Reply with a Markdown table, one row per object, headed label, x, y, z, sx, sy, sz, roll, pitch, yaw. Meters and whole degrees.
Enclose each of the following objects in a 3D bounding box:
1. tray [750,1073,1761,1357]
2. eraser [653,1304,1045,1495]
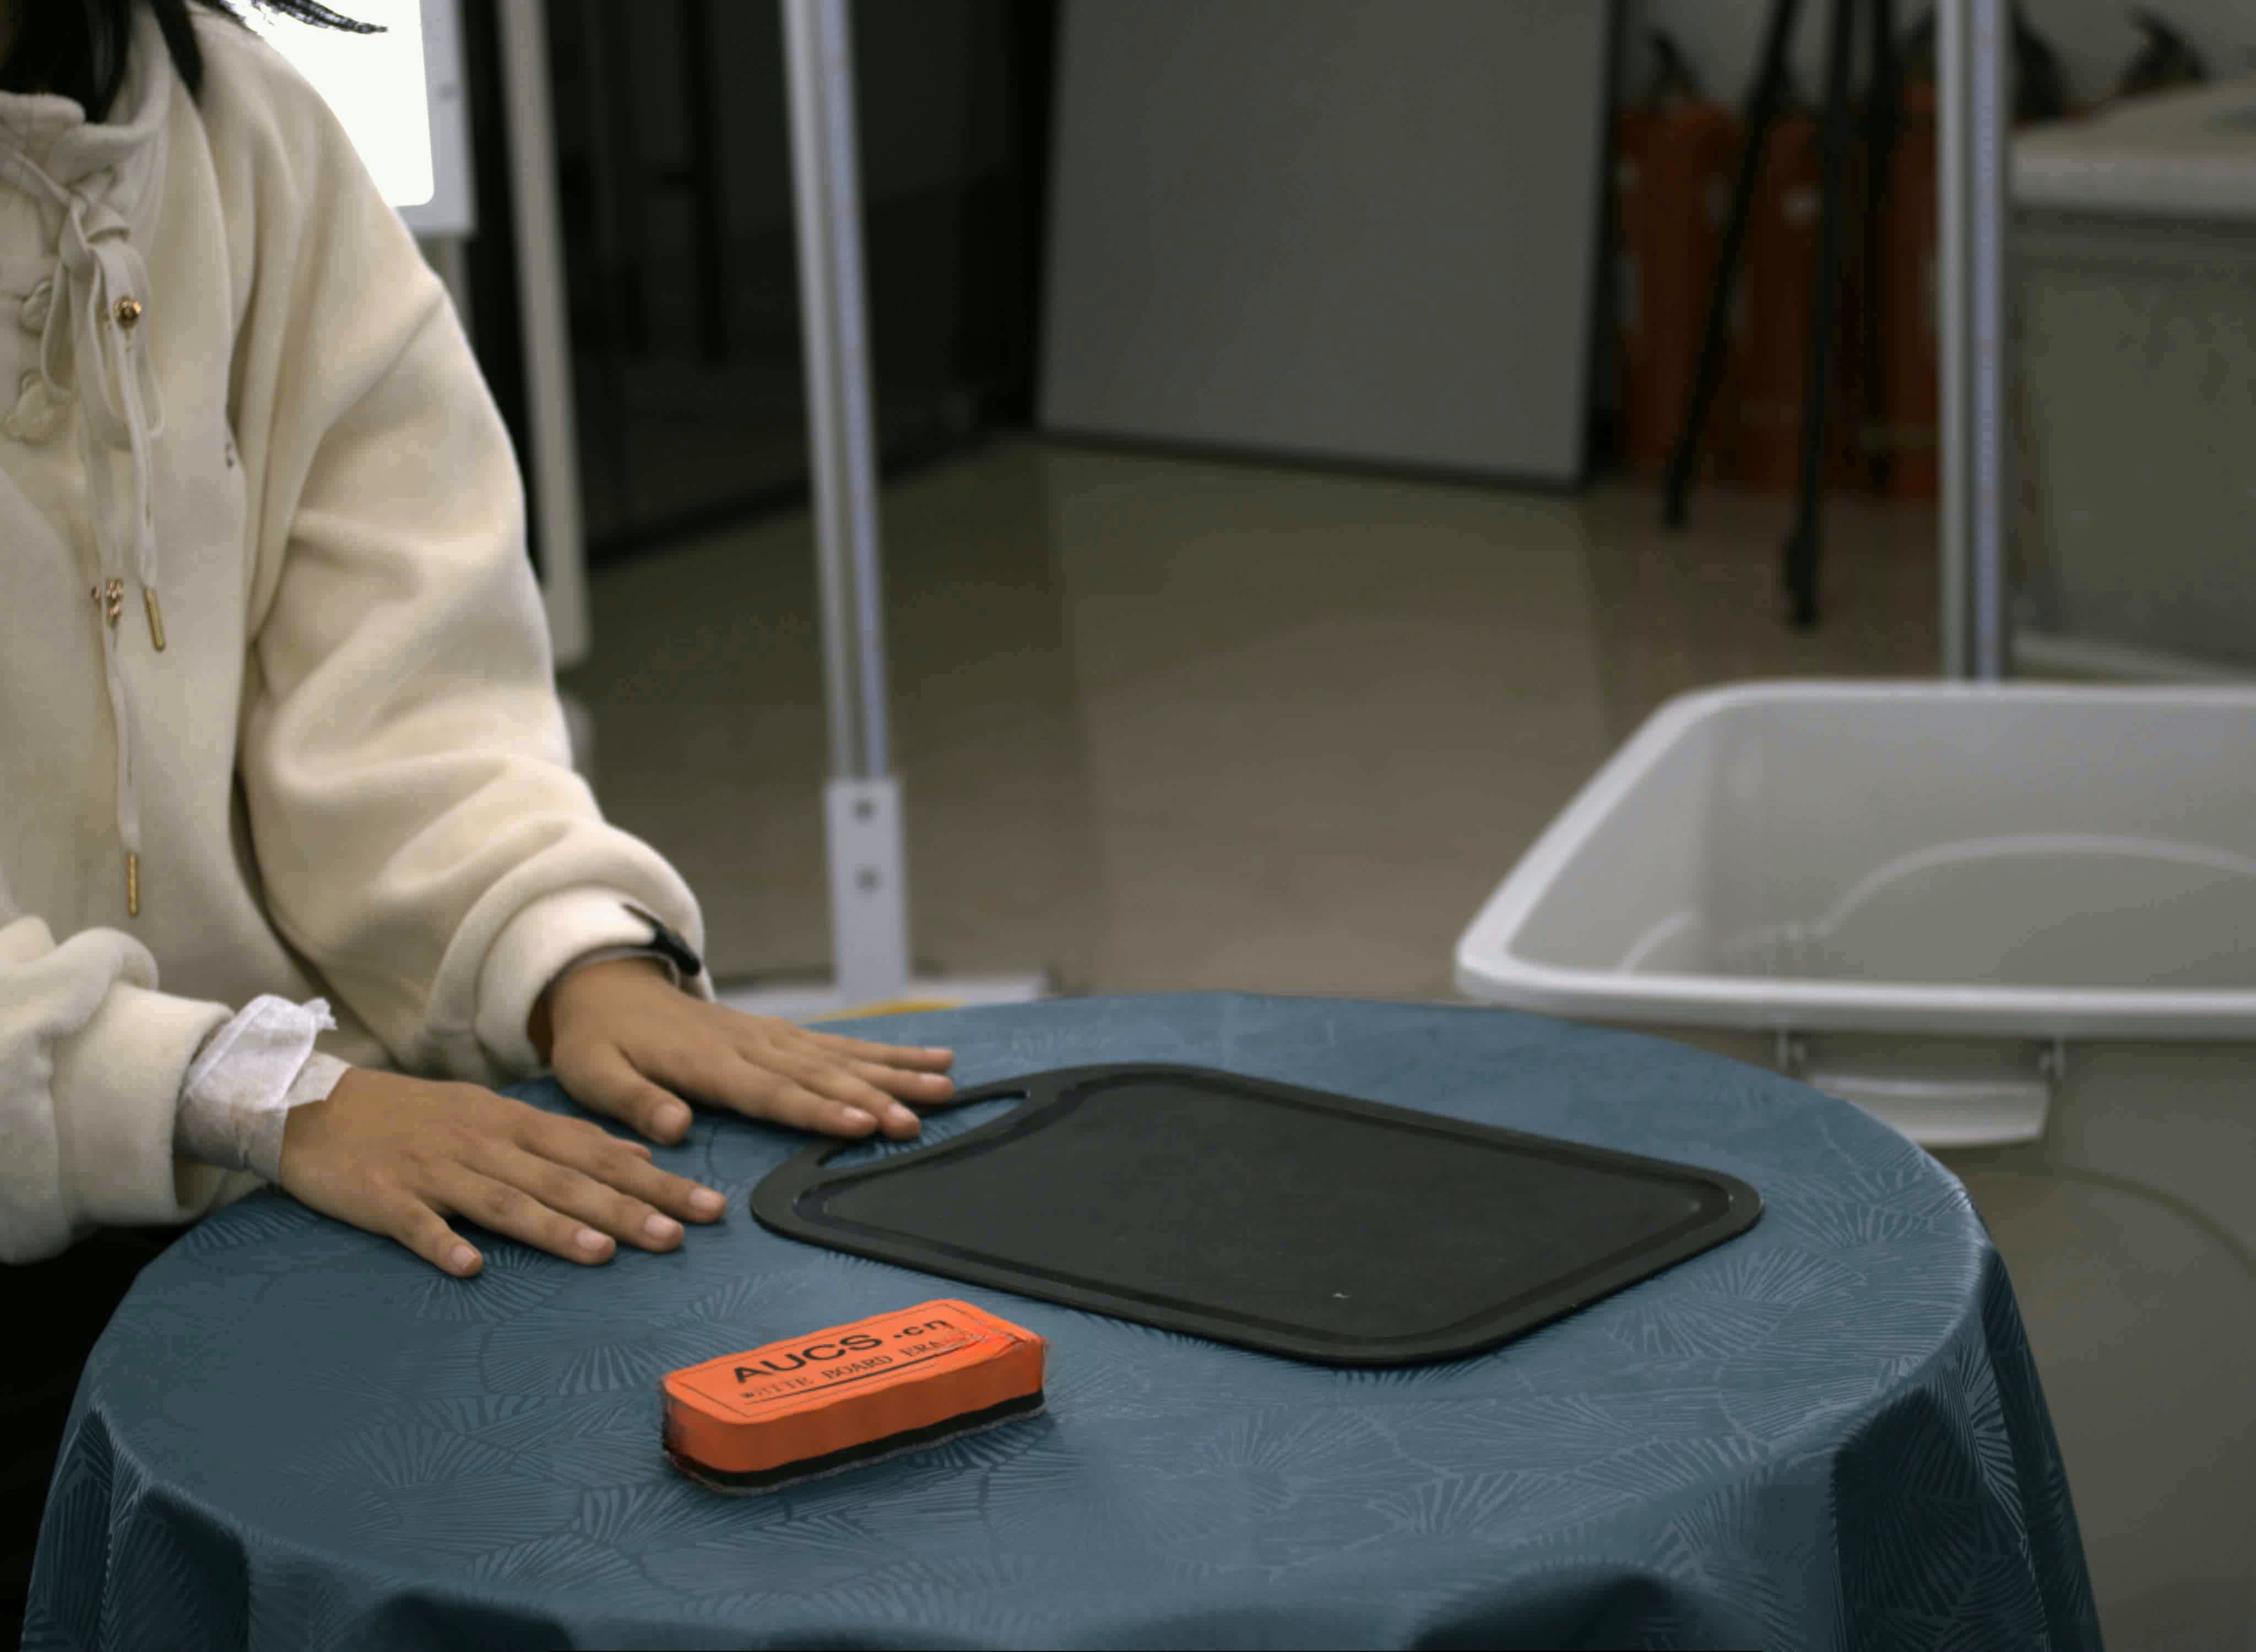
| label | x | y | z | sx | sy | sz | roll | pitch | yaw |
| --- | --- | --- | --- | --- | --- | --- | --- | --- | --- |
| tray | 0.032 | 0.121 | 1.749 | 0.328 | 0.010 | 0.207 | 8 | 18 | 42 |
| eraser | -0.080 | 0.165 | 1.564 | 0.105 | 0.023 | 0.059 | -12 | 16 | -31 |
